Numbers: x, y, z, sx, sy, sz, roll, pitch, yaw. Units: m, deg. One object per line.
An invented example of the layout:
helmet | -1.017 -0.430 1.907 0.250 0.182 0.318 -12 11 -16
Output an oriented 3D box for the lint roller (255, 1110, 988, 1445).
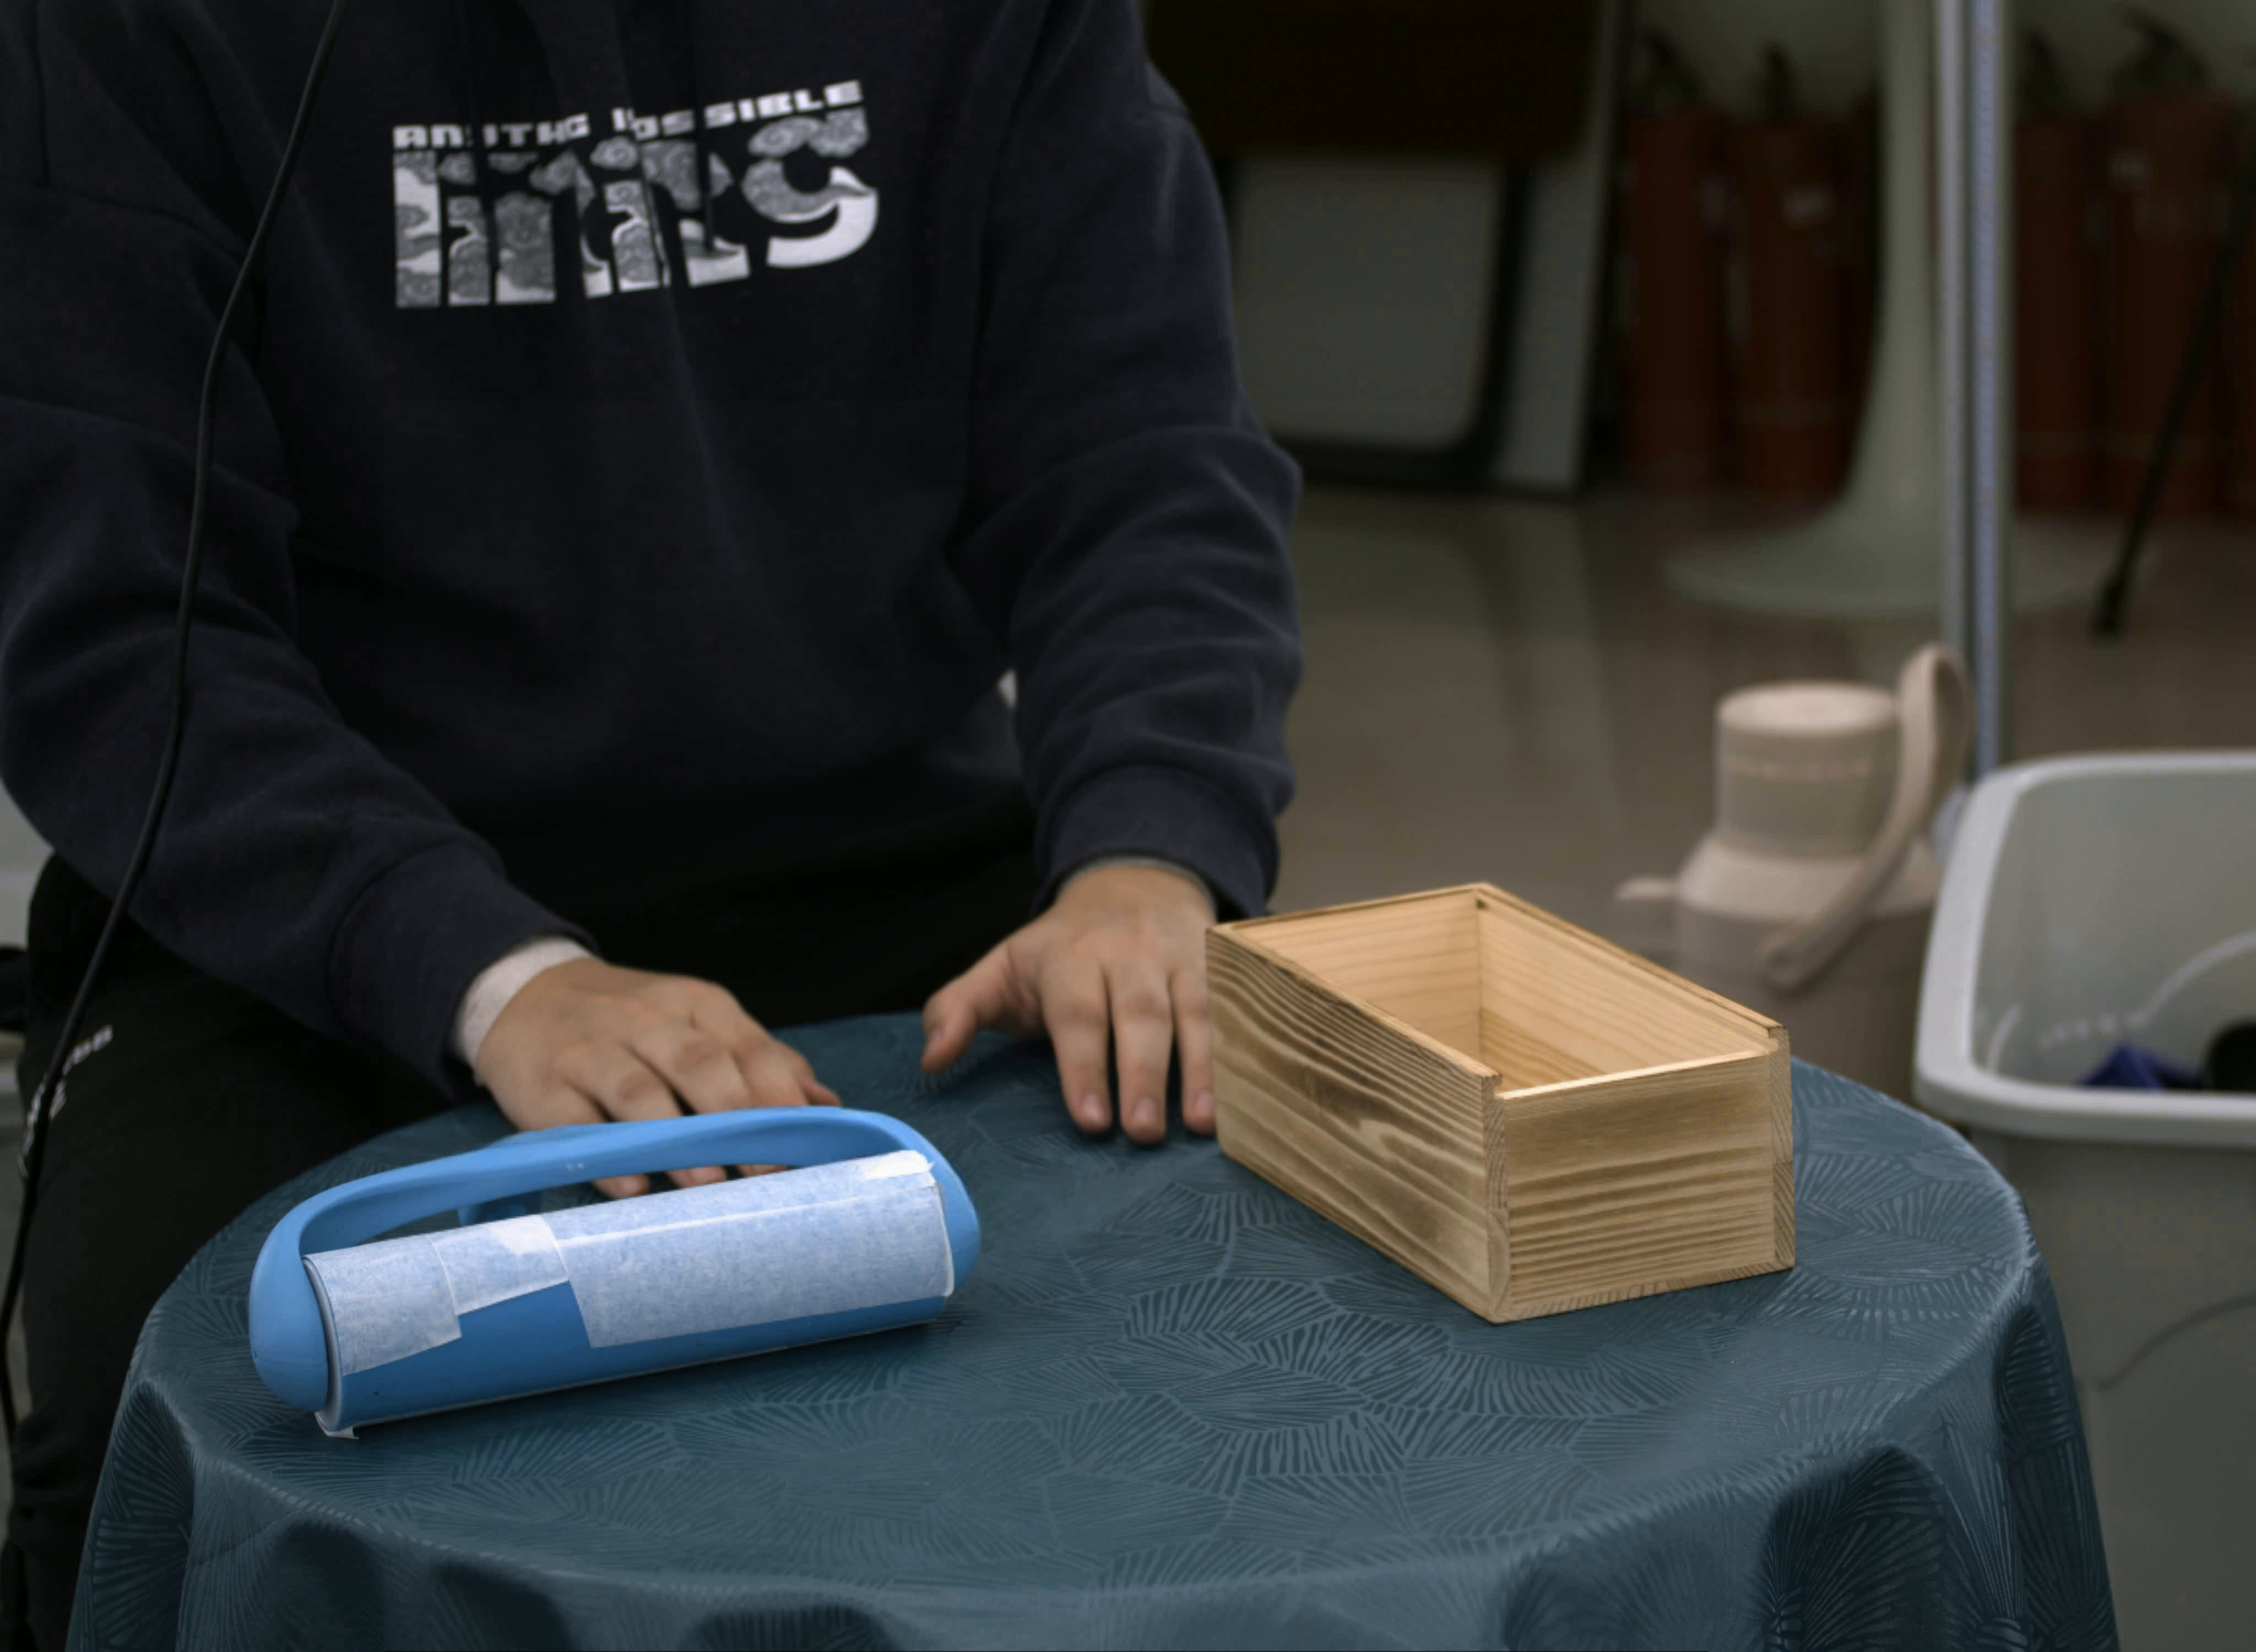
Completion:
lint roller | -0.173 0.127 1.676 0.224 0.068 0.182 -11 17 -21

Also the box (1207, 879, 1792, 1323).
box | 0.115 0.084 1.725 0.105 0.081 0.213 -9 14 -21
